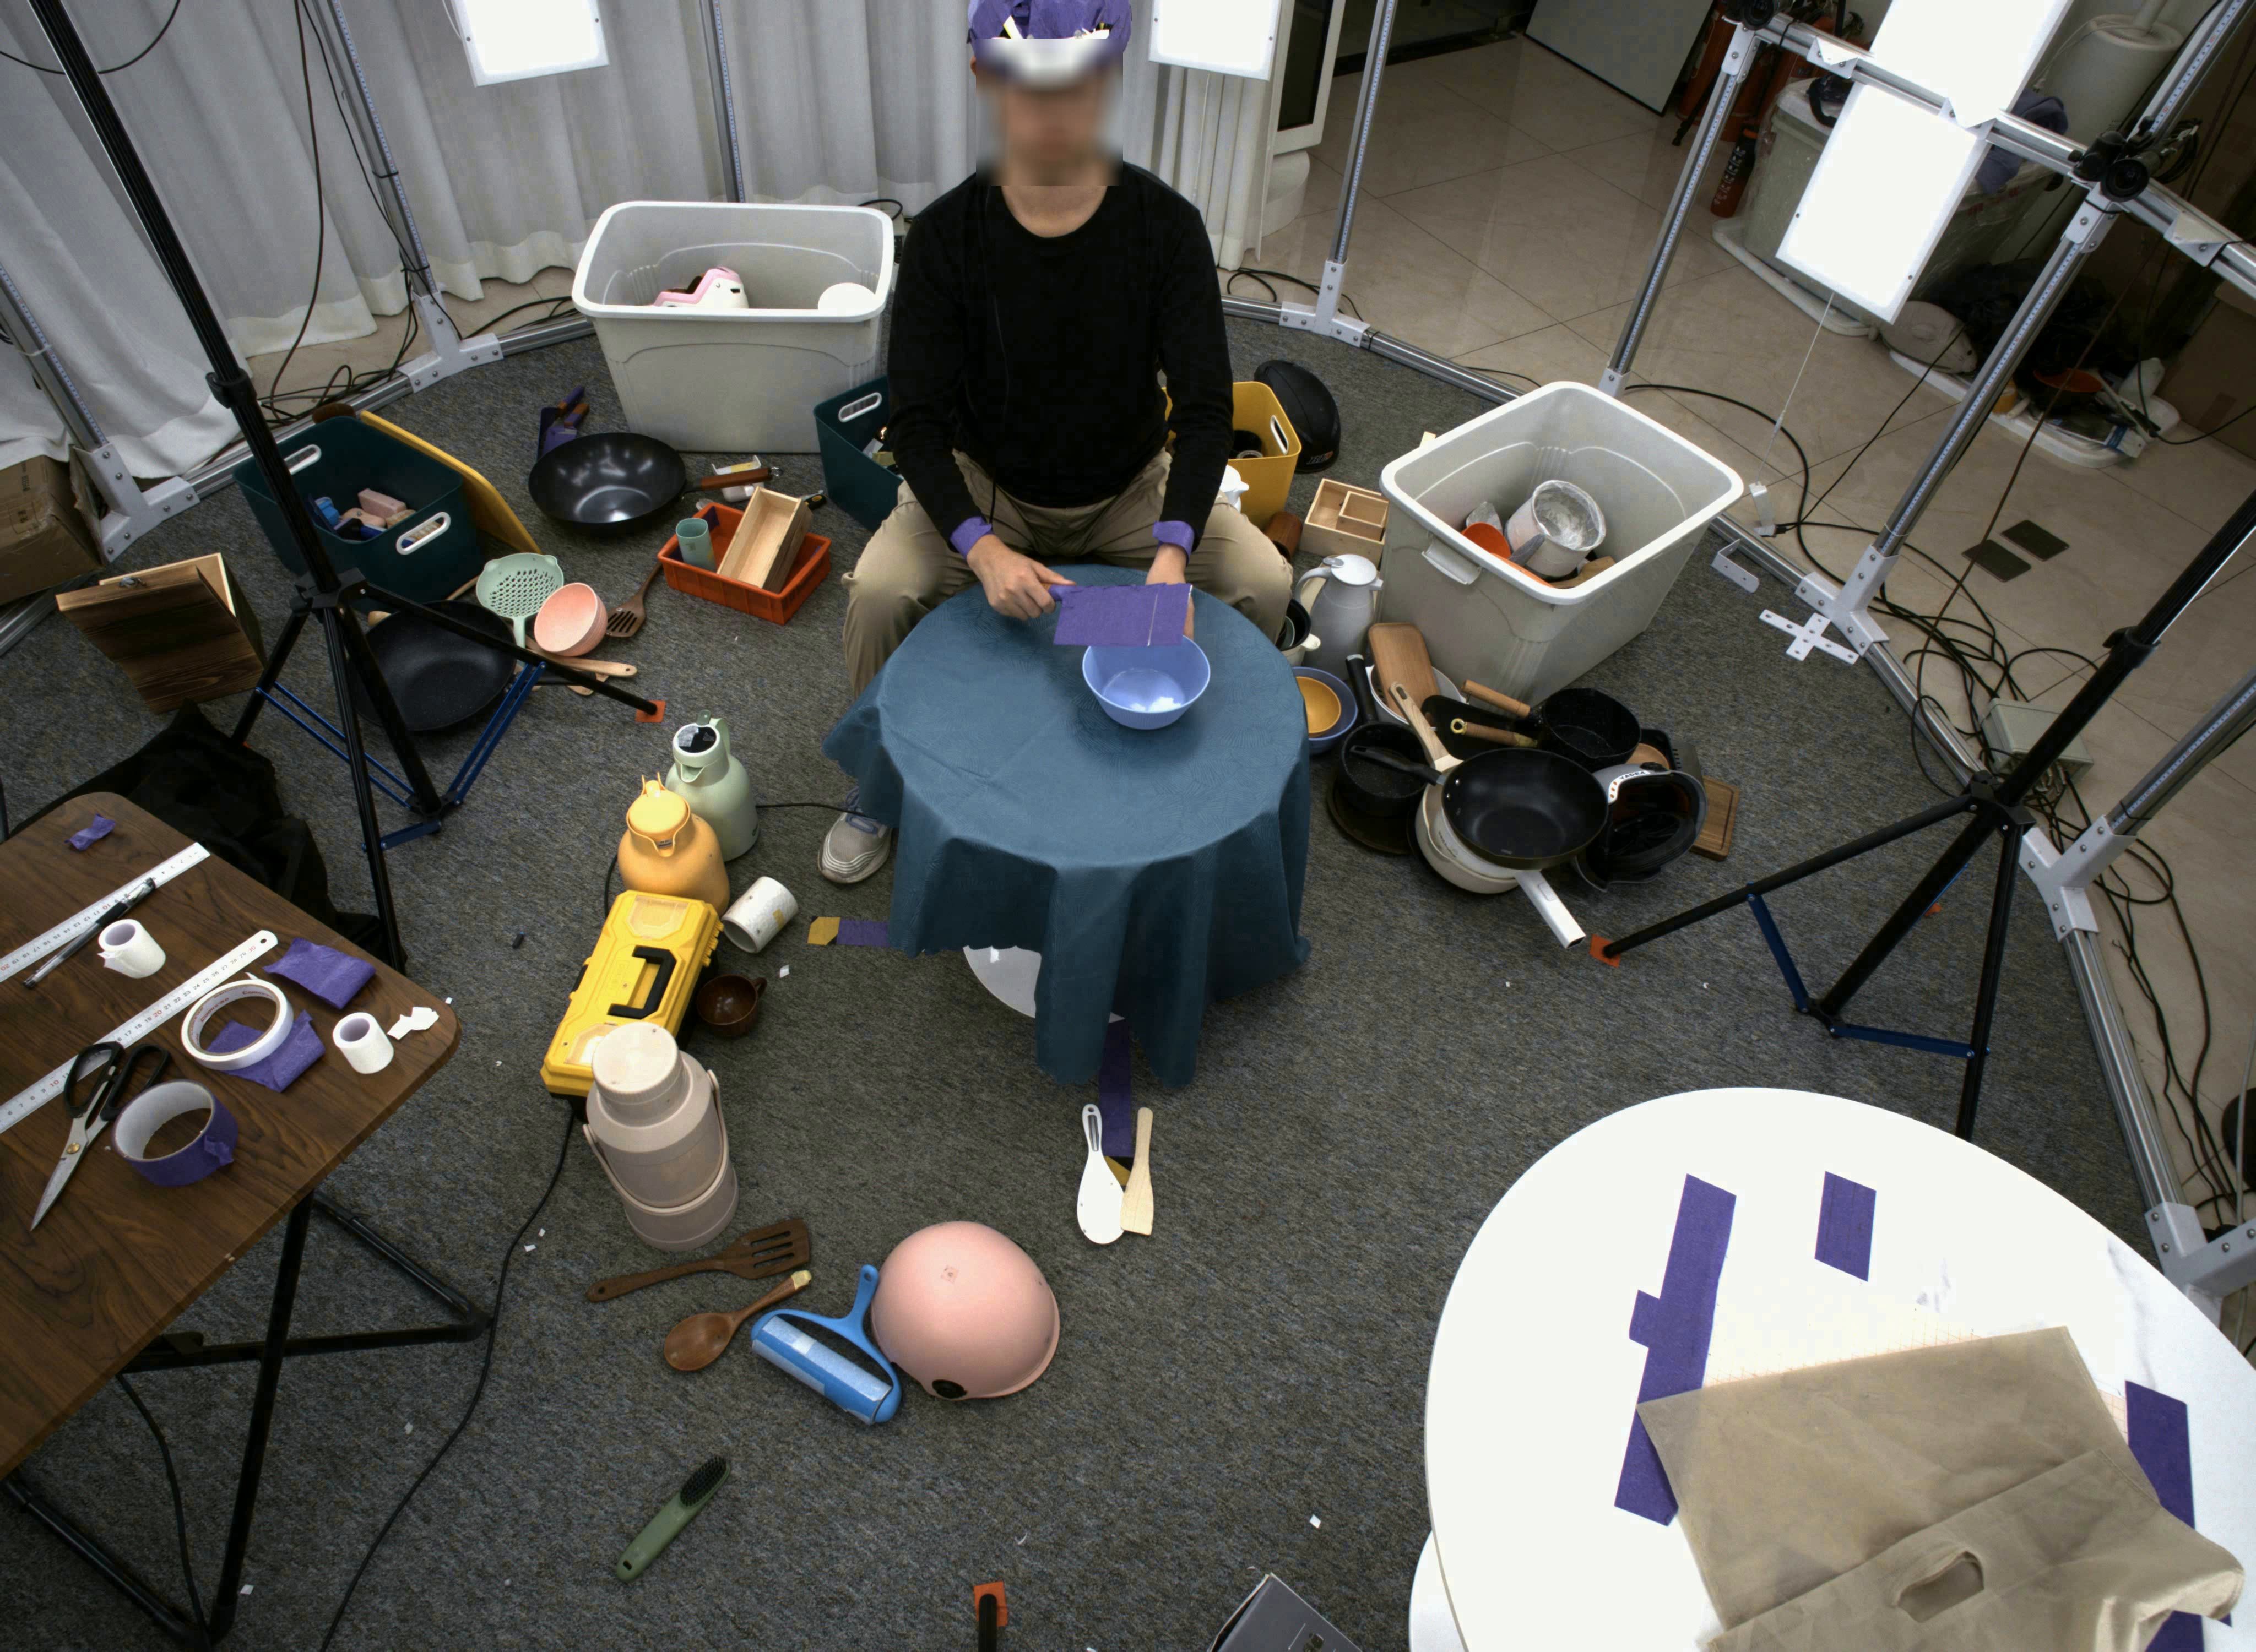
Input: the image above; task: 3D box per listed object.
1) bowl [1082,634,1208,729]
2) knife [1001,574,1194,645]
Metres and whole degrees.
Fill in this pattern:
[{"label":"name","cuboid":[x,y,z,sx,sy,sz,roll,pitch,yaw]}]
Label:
[{"label":"bowl","cuboid":[0.022,-0.198,1.797,0.176,0.068,0.180,2,48,-3]},{"label":"knife","cuboid":[-0.053,-0.302,1.811,0.317,0.031,0.105,3,73,33]}]
